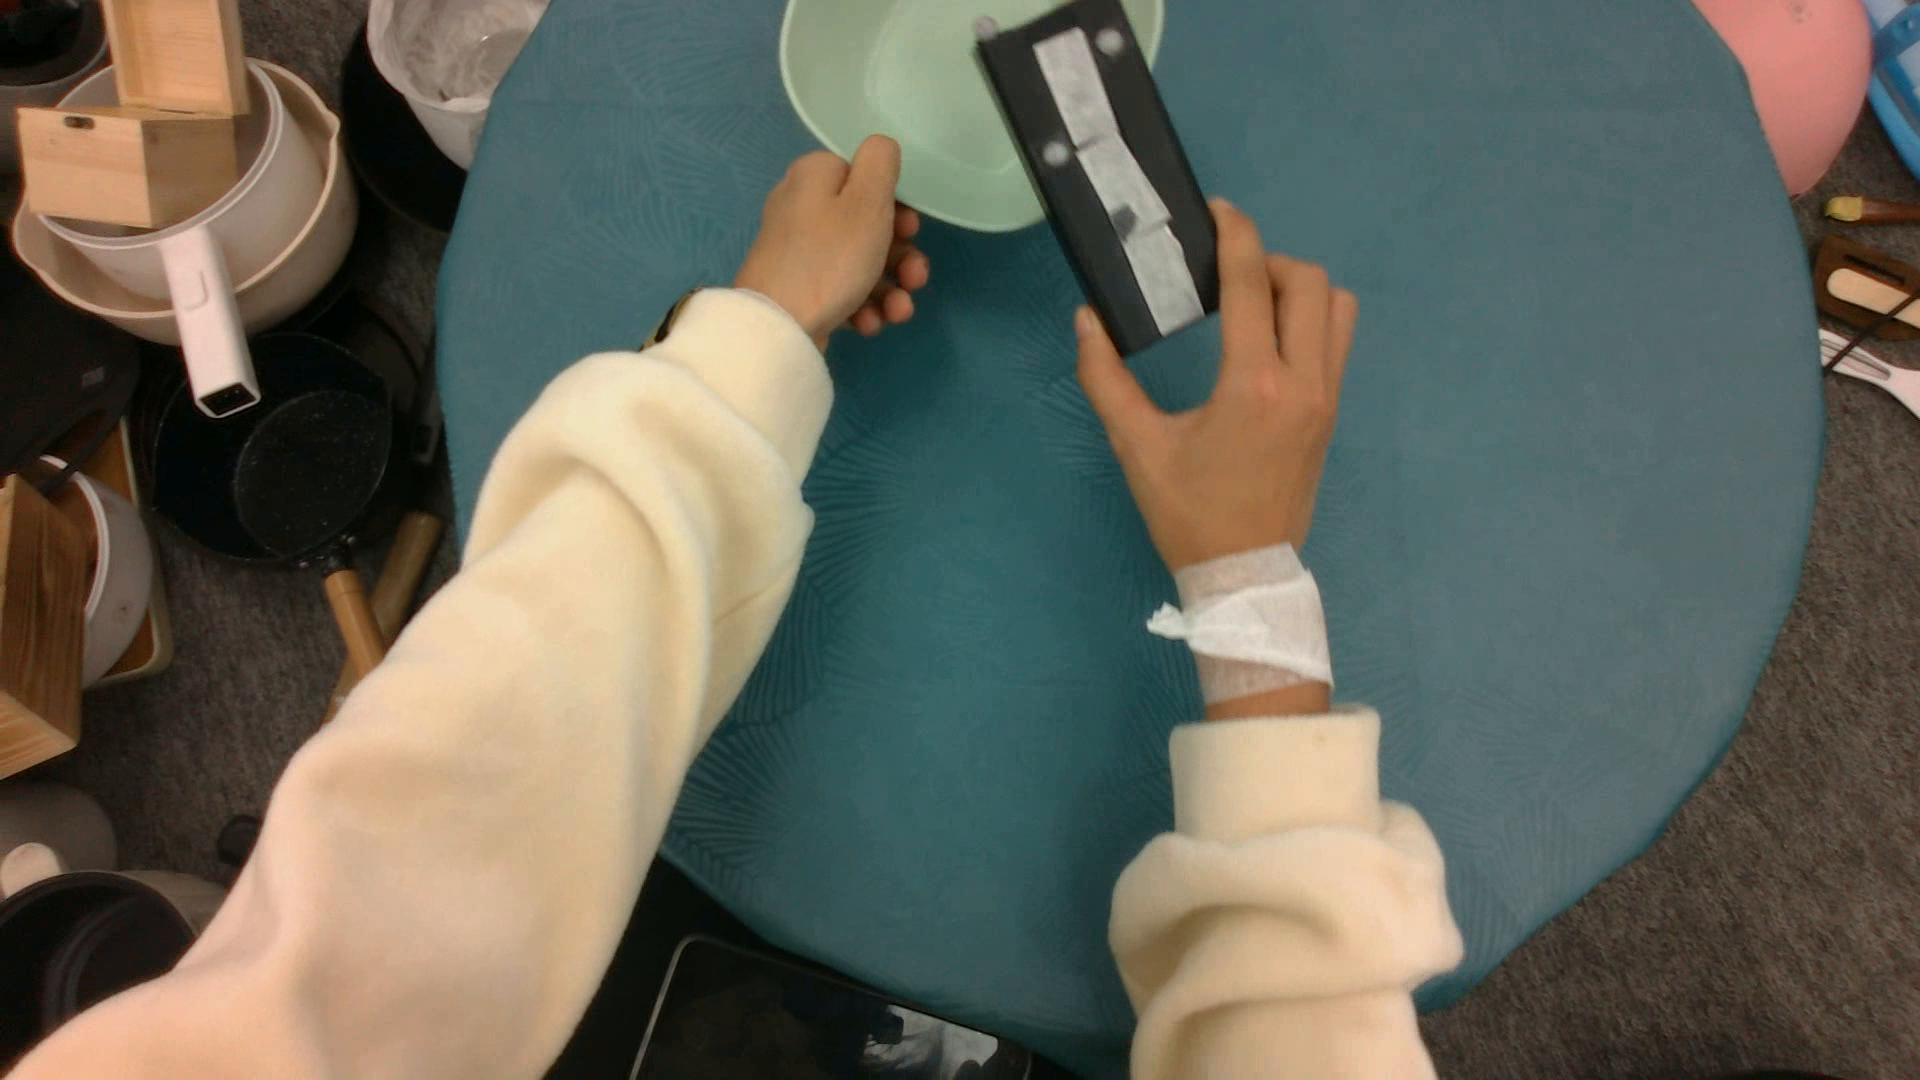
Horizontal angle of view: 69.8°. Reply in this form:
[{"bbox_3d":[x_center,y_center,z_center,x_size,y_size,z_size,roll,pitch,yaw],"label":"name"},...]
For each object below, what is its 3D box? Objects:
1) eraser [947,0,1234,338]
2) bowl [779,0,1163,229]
[{"bbox_3d":[0.047,-0.140,0.499,0.053,0.030,0.125,-28,105,8],"label":"eraser"},{"bbox_3d":[0.005,-0.198,0.562,0.151,0.058,0.151,0,93,1],"label":"bowl"}]
